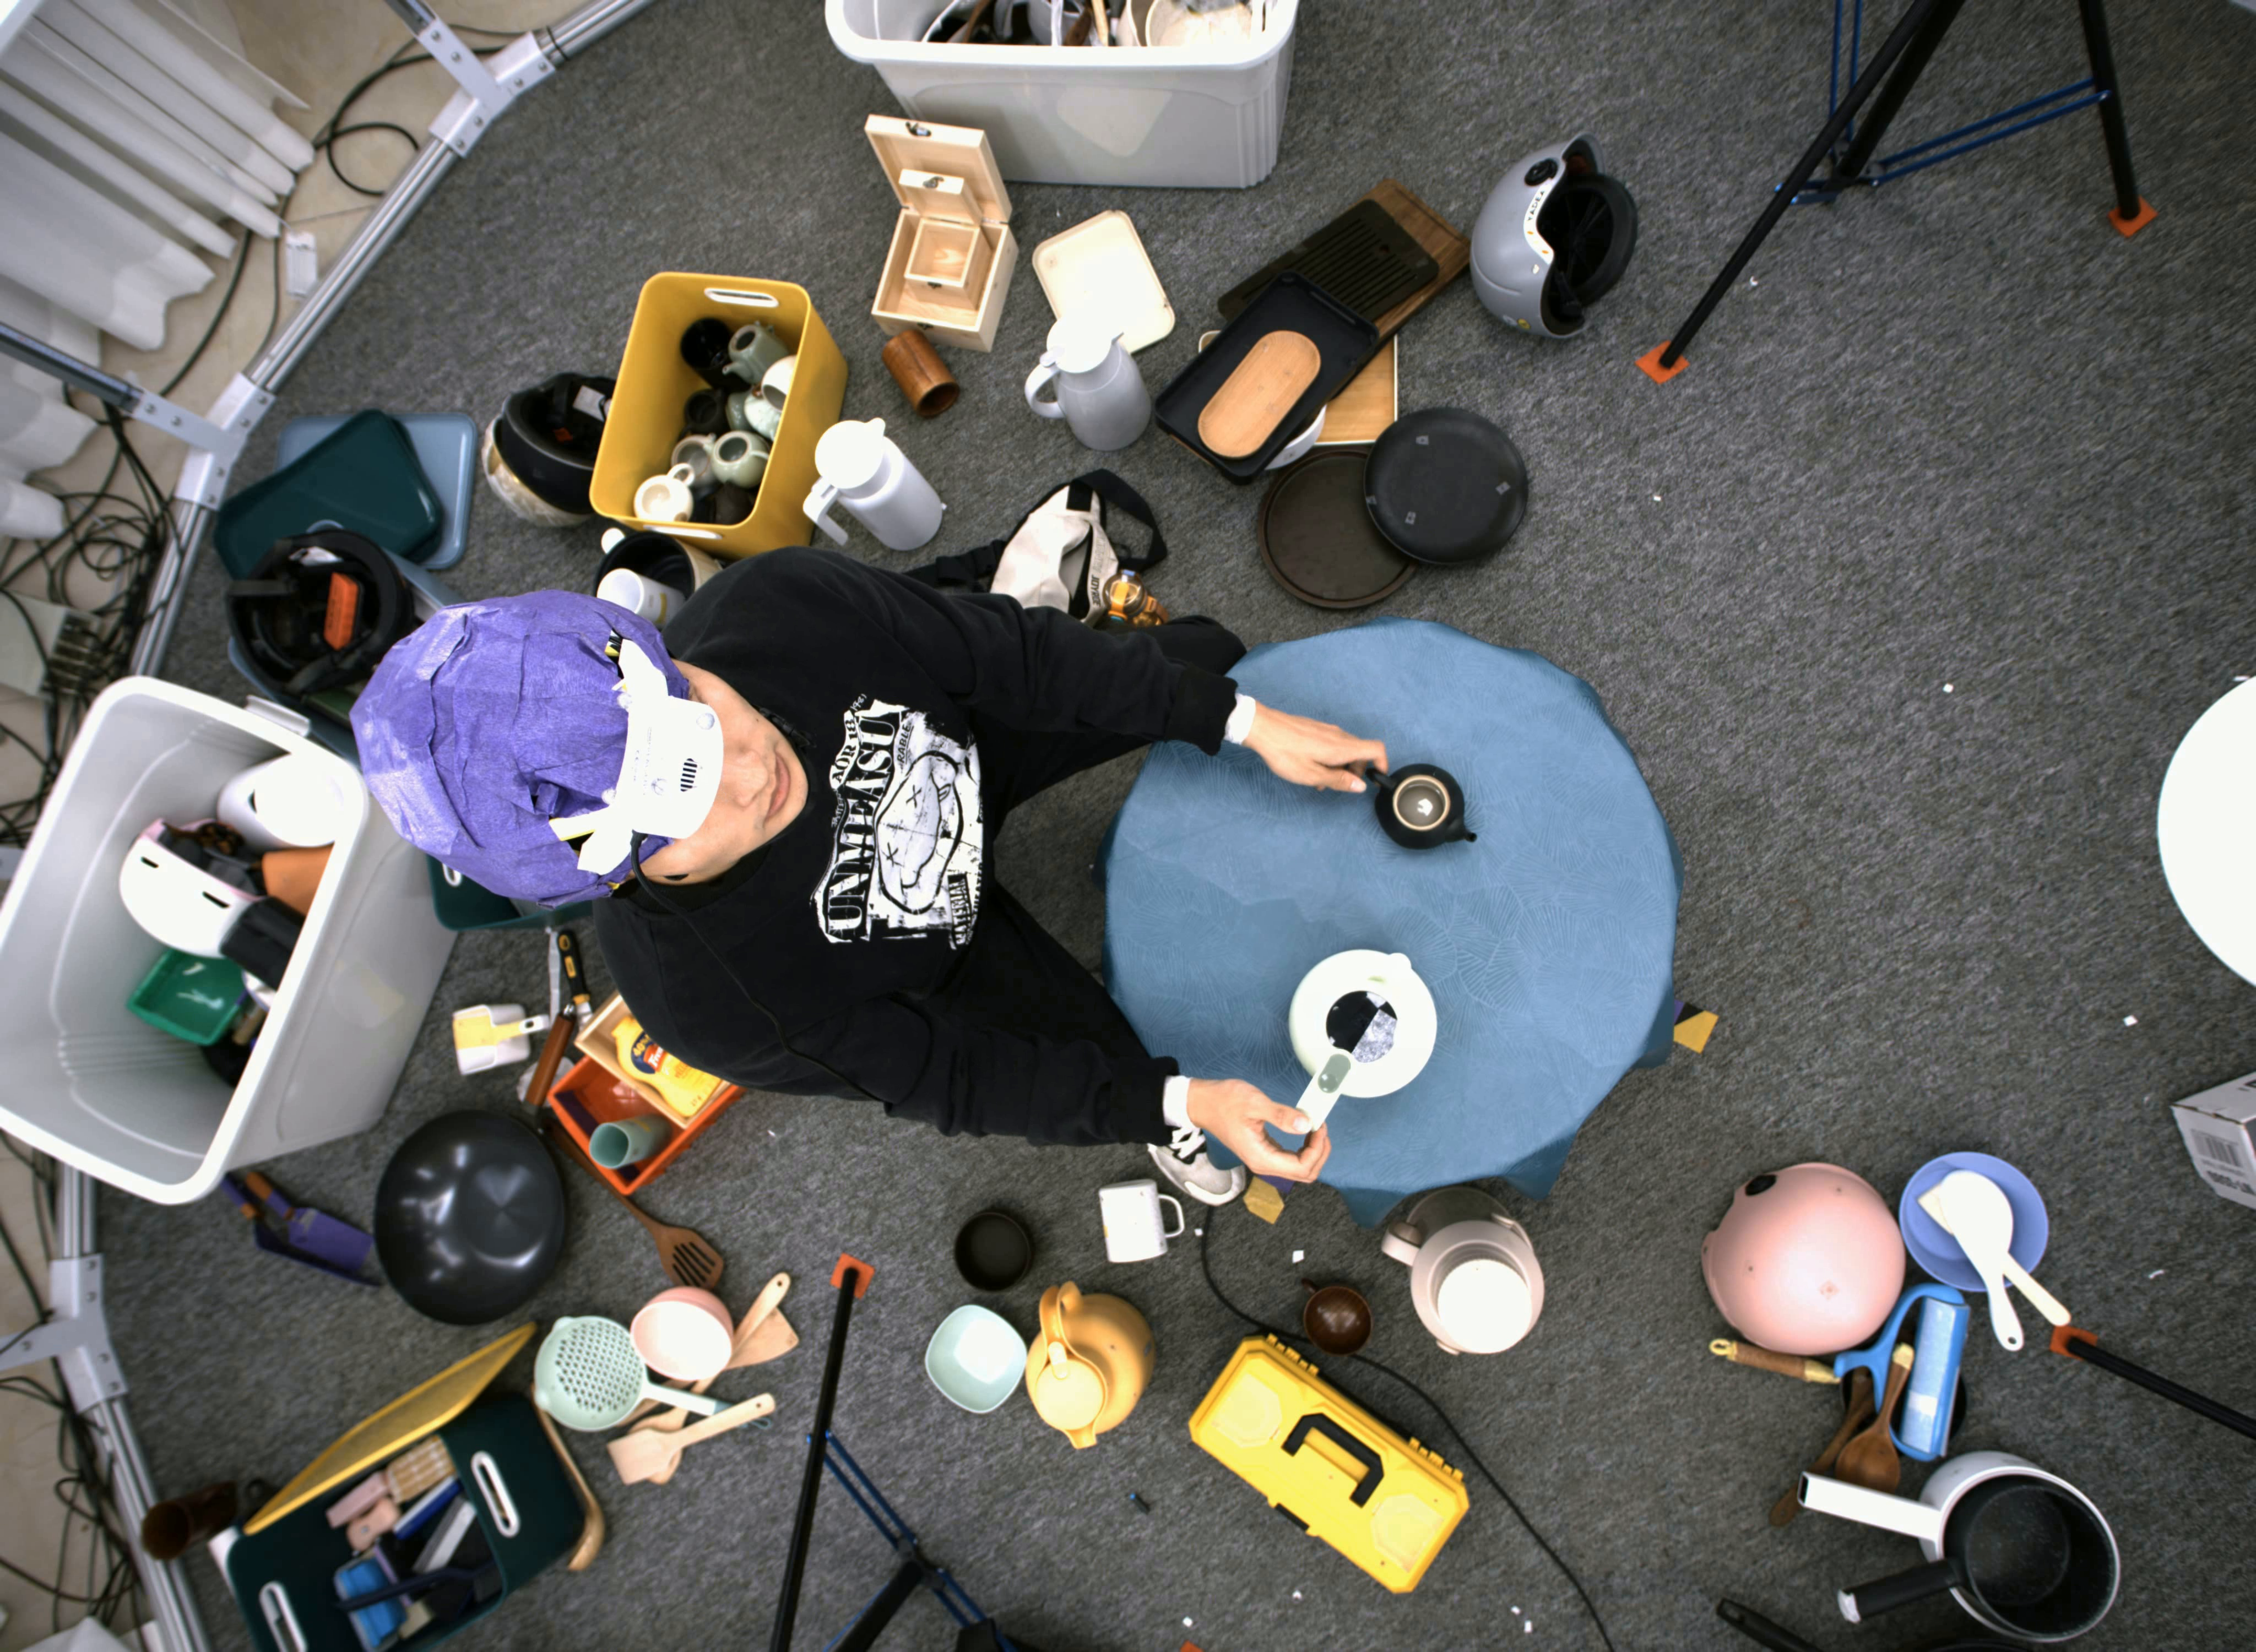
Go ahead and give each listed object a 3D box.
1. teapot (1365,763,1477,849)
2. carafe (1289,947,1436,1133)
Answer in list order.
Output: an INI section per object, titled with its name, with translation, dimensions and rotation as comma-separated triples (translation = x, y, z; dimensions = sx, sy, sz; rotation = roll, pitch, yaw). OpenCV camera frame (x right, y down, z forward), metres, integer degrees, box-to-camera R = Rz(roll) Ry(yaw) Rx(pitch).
[teapot]
translation = 0.304, -0.023, 1.432
dimensions = 0.133, 0.053, 0.091
rotation = 34, 91, 10
[carafe]
translation = 0.219, 0.201, 1.338
dimensions = 0.144, 0.256, 0.187
rotation = 30, 94, 10
